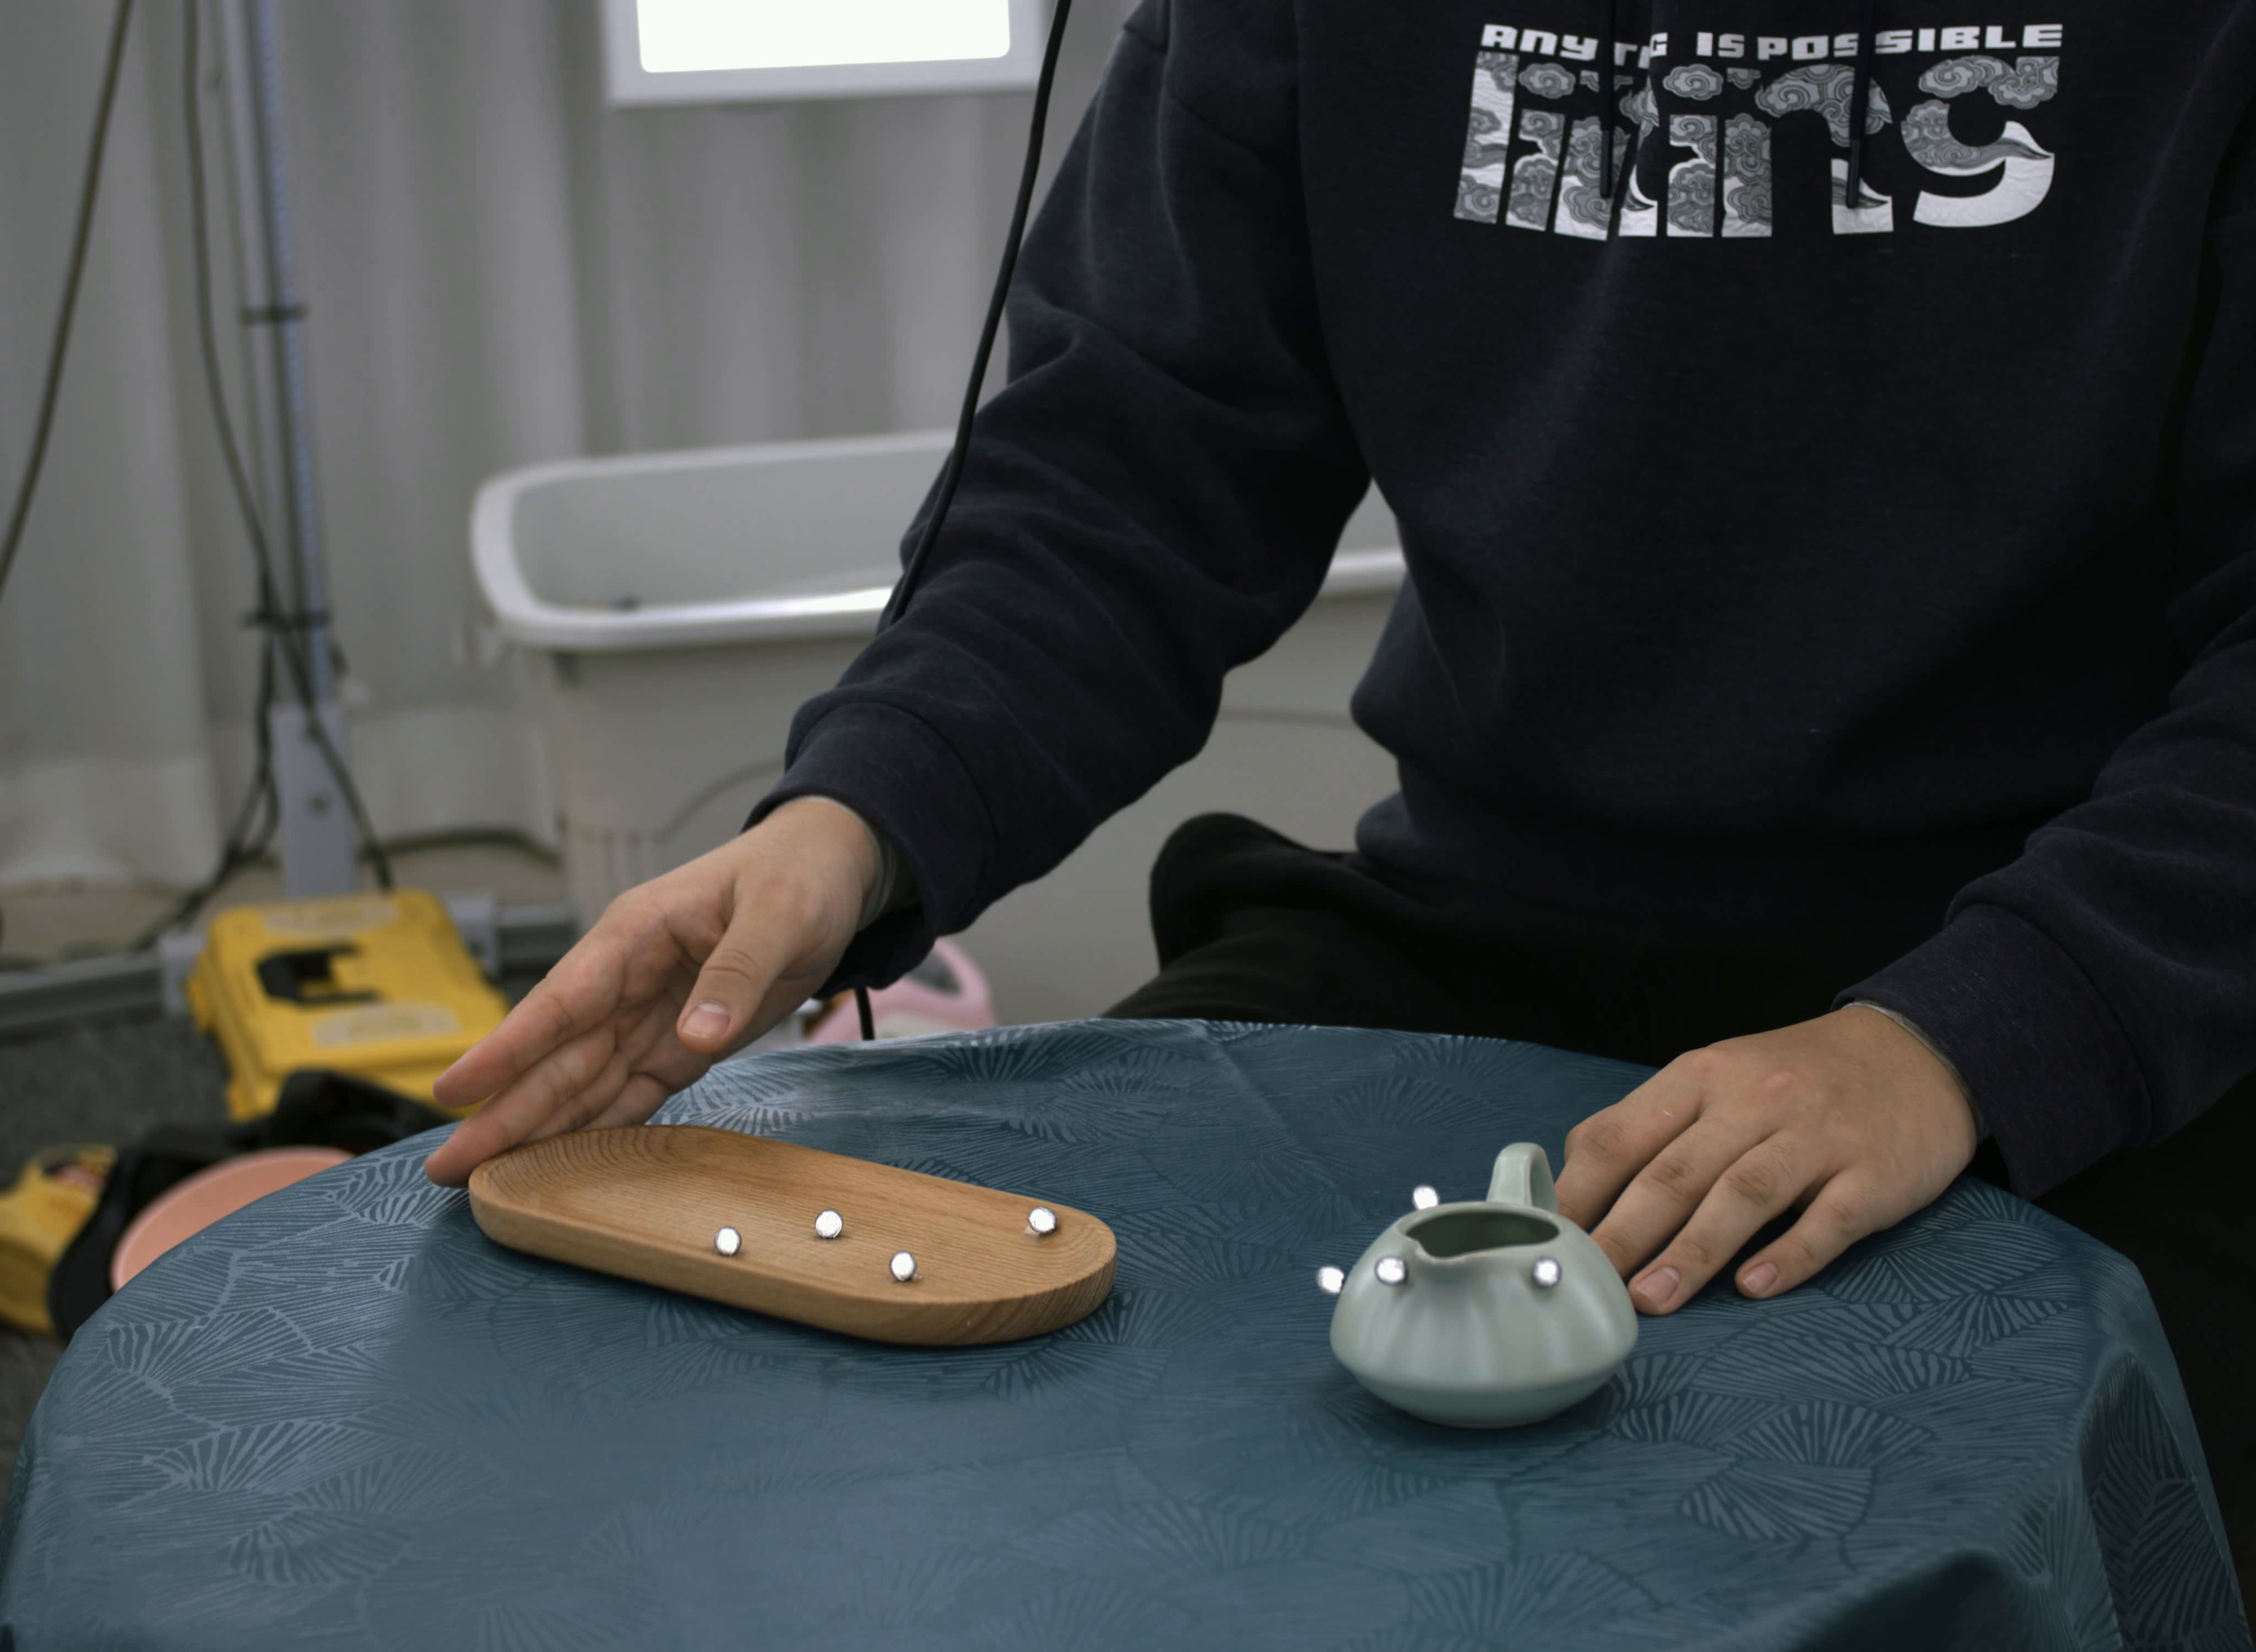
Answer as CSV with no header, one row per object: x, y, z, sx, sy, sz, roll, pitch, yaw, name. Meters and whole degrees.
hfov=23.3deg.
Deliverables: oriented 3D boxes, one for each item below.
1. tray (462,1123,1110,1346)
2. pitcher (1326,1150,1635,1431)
-0.106,0.124,1.670,0.232,0.020,0.101,7,18,38,tray
0.101,0.131,1.533,0.086,0.060,0.108,3,13,16,pitcher
